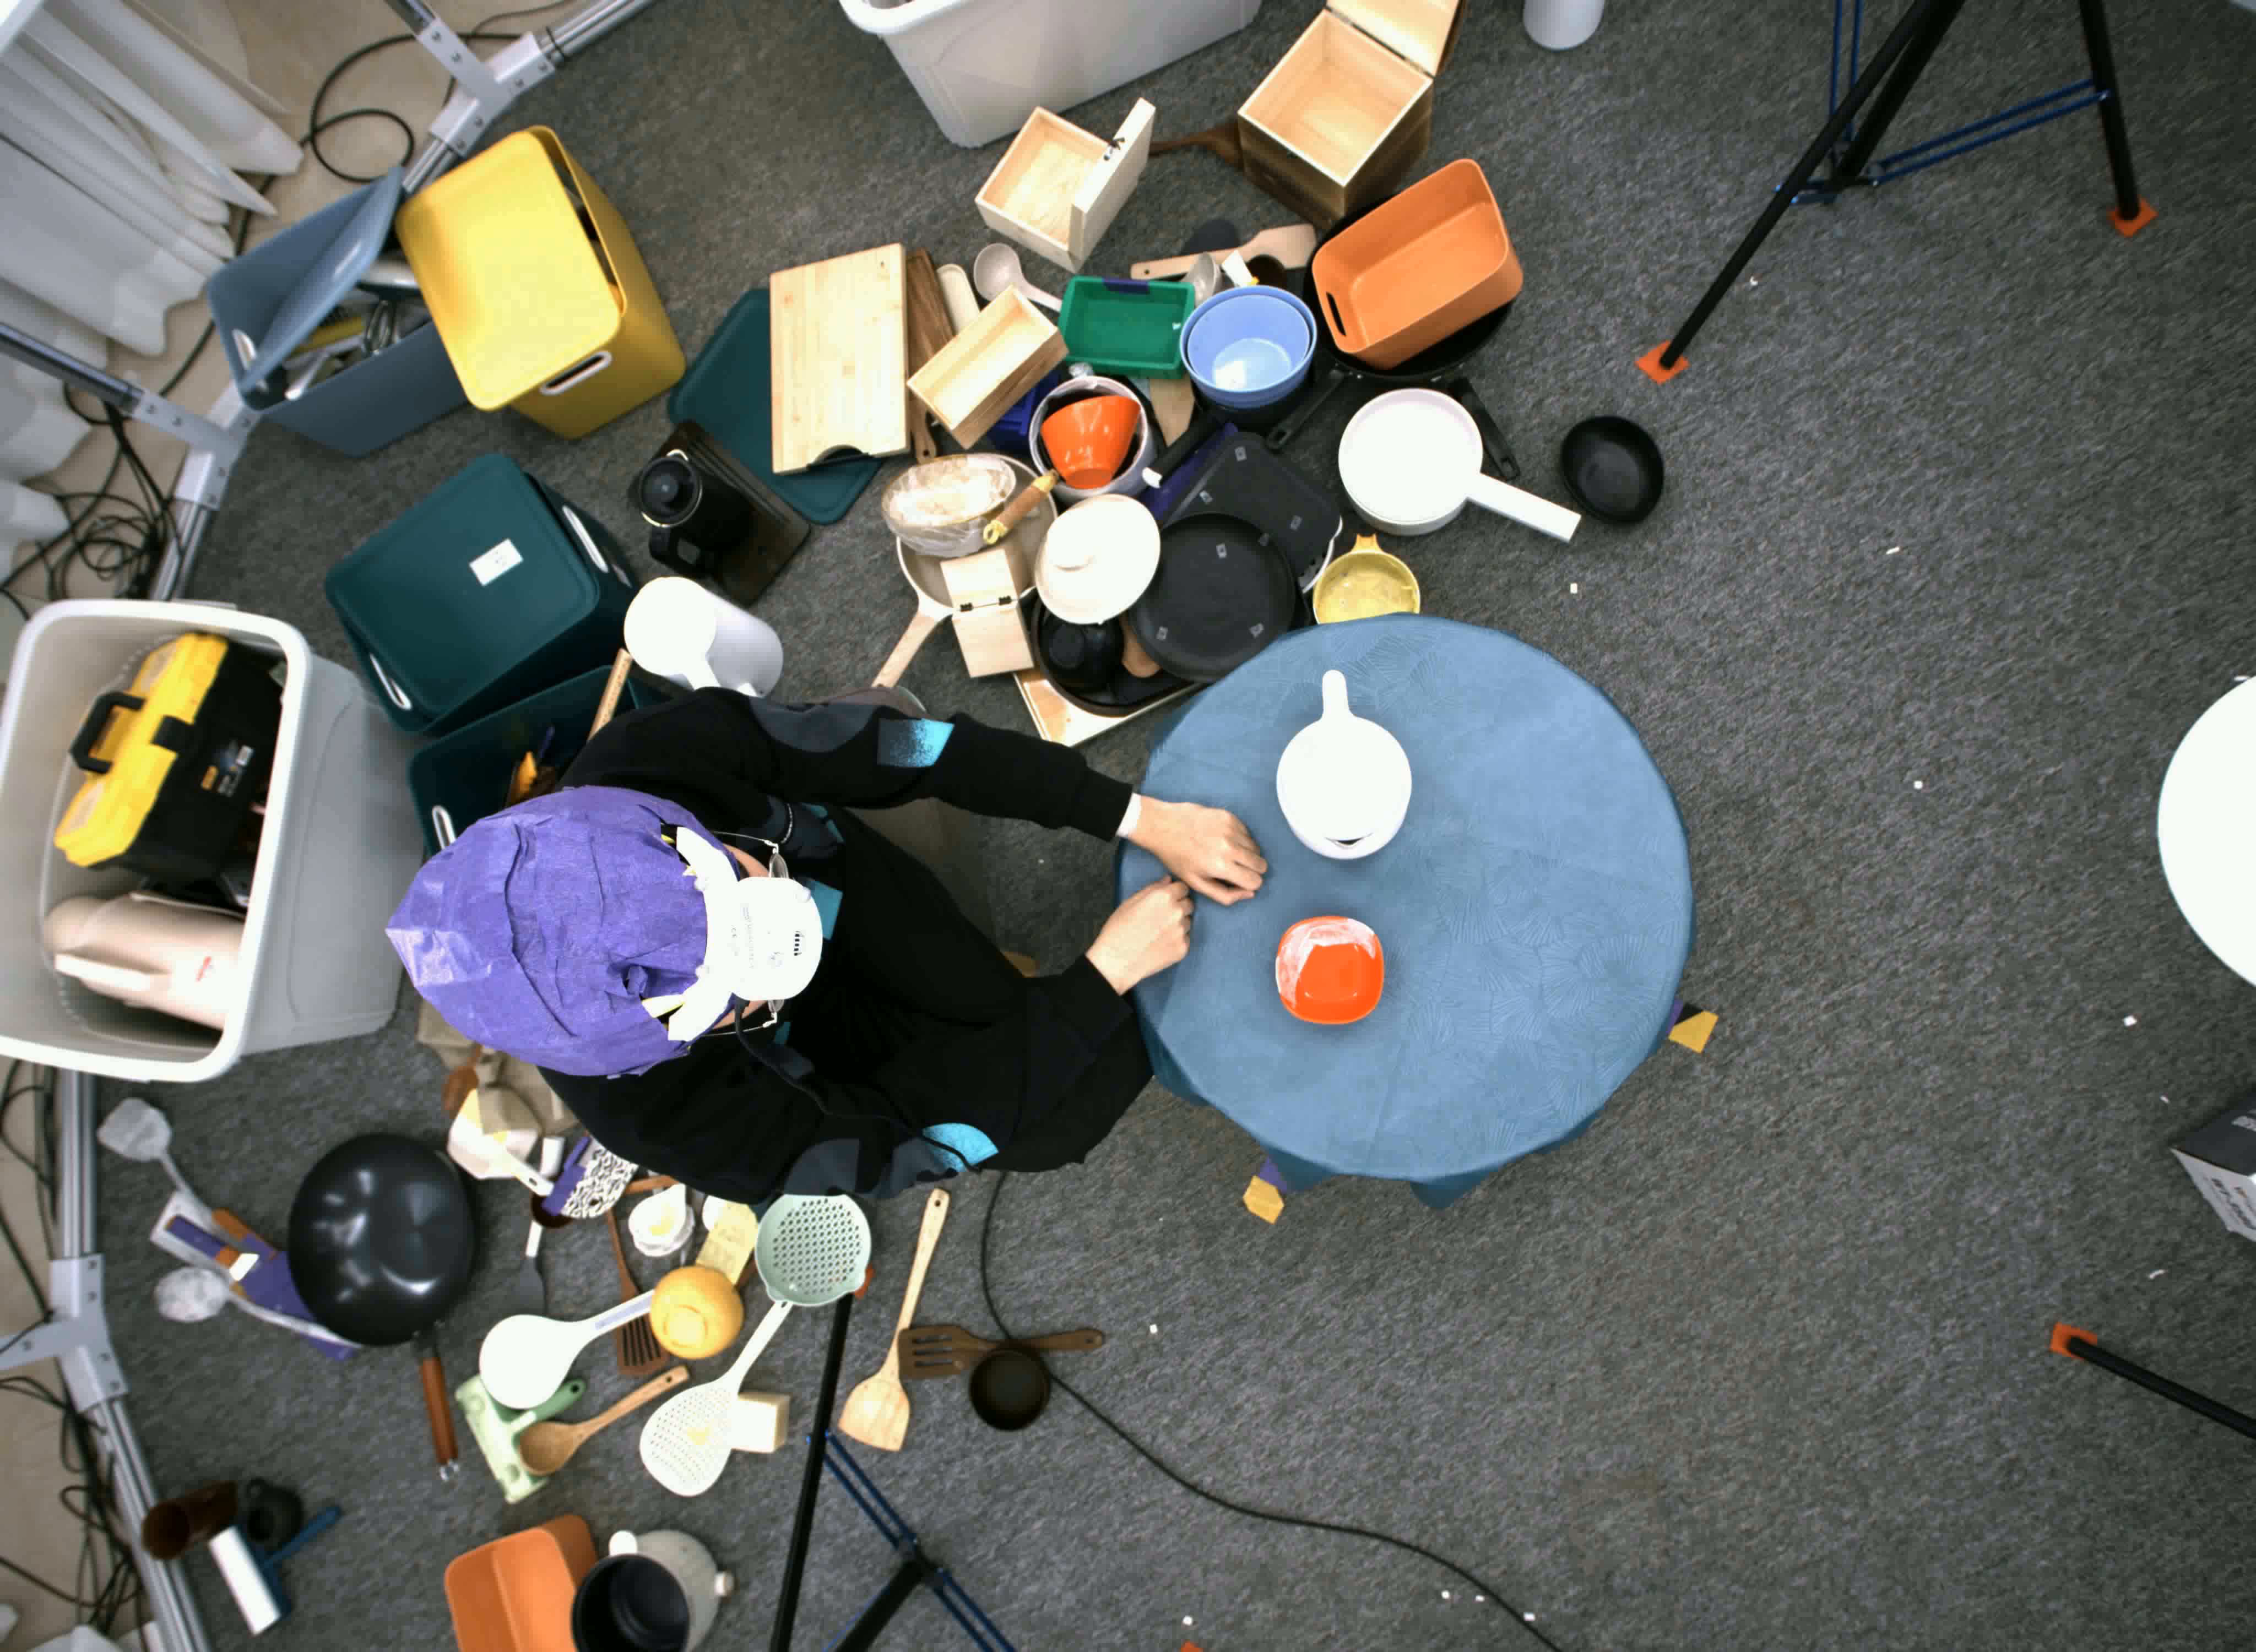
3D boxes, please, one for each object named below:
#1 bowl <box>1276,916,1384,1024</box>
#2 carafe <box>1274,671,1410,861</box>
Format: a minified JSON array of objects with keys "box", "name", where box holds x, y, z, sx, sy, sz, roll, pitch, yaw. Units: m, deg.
[{"box":[0.208,0.147,1.435,0.119,0.051,0.118,0,89,7],"name":"bowl"},{"box":[0.212,-0.062,1.387,0.133,0.183,0.189,-7,82,8],"name":"carafe"}]
